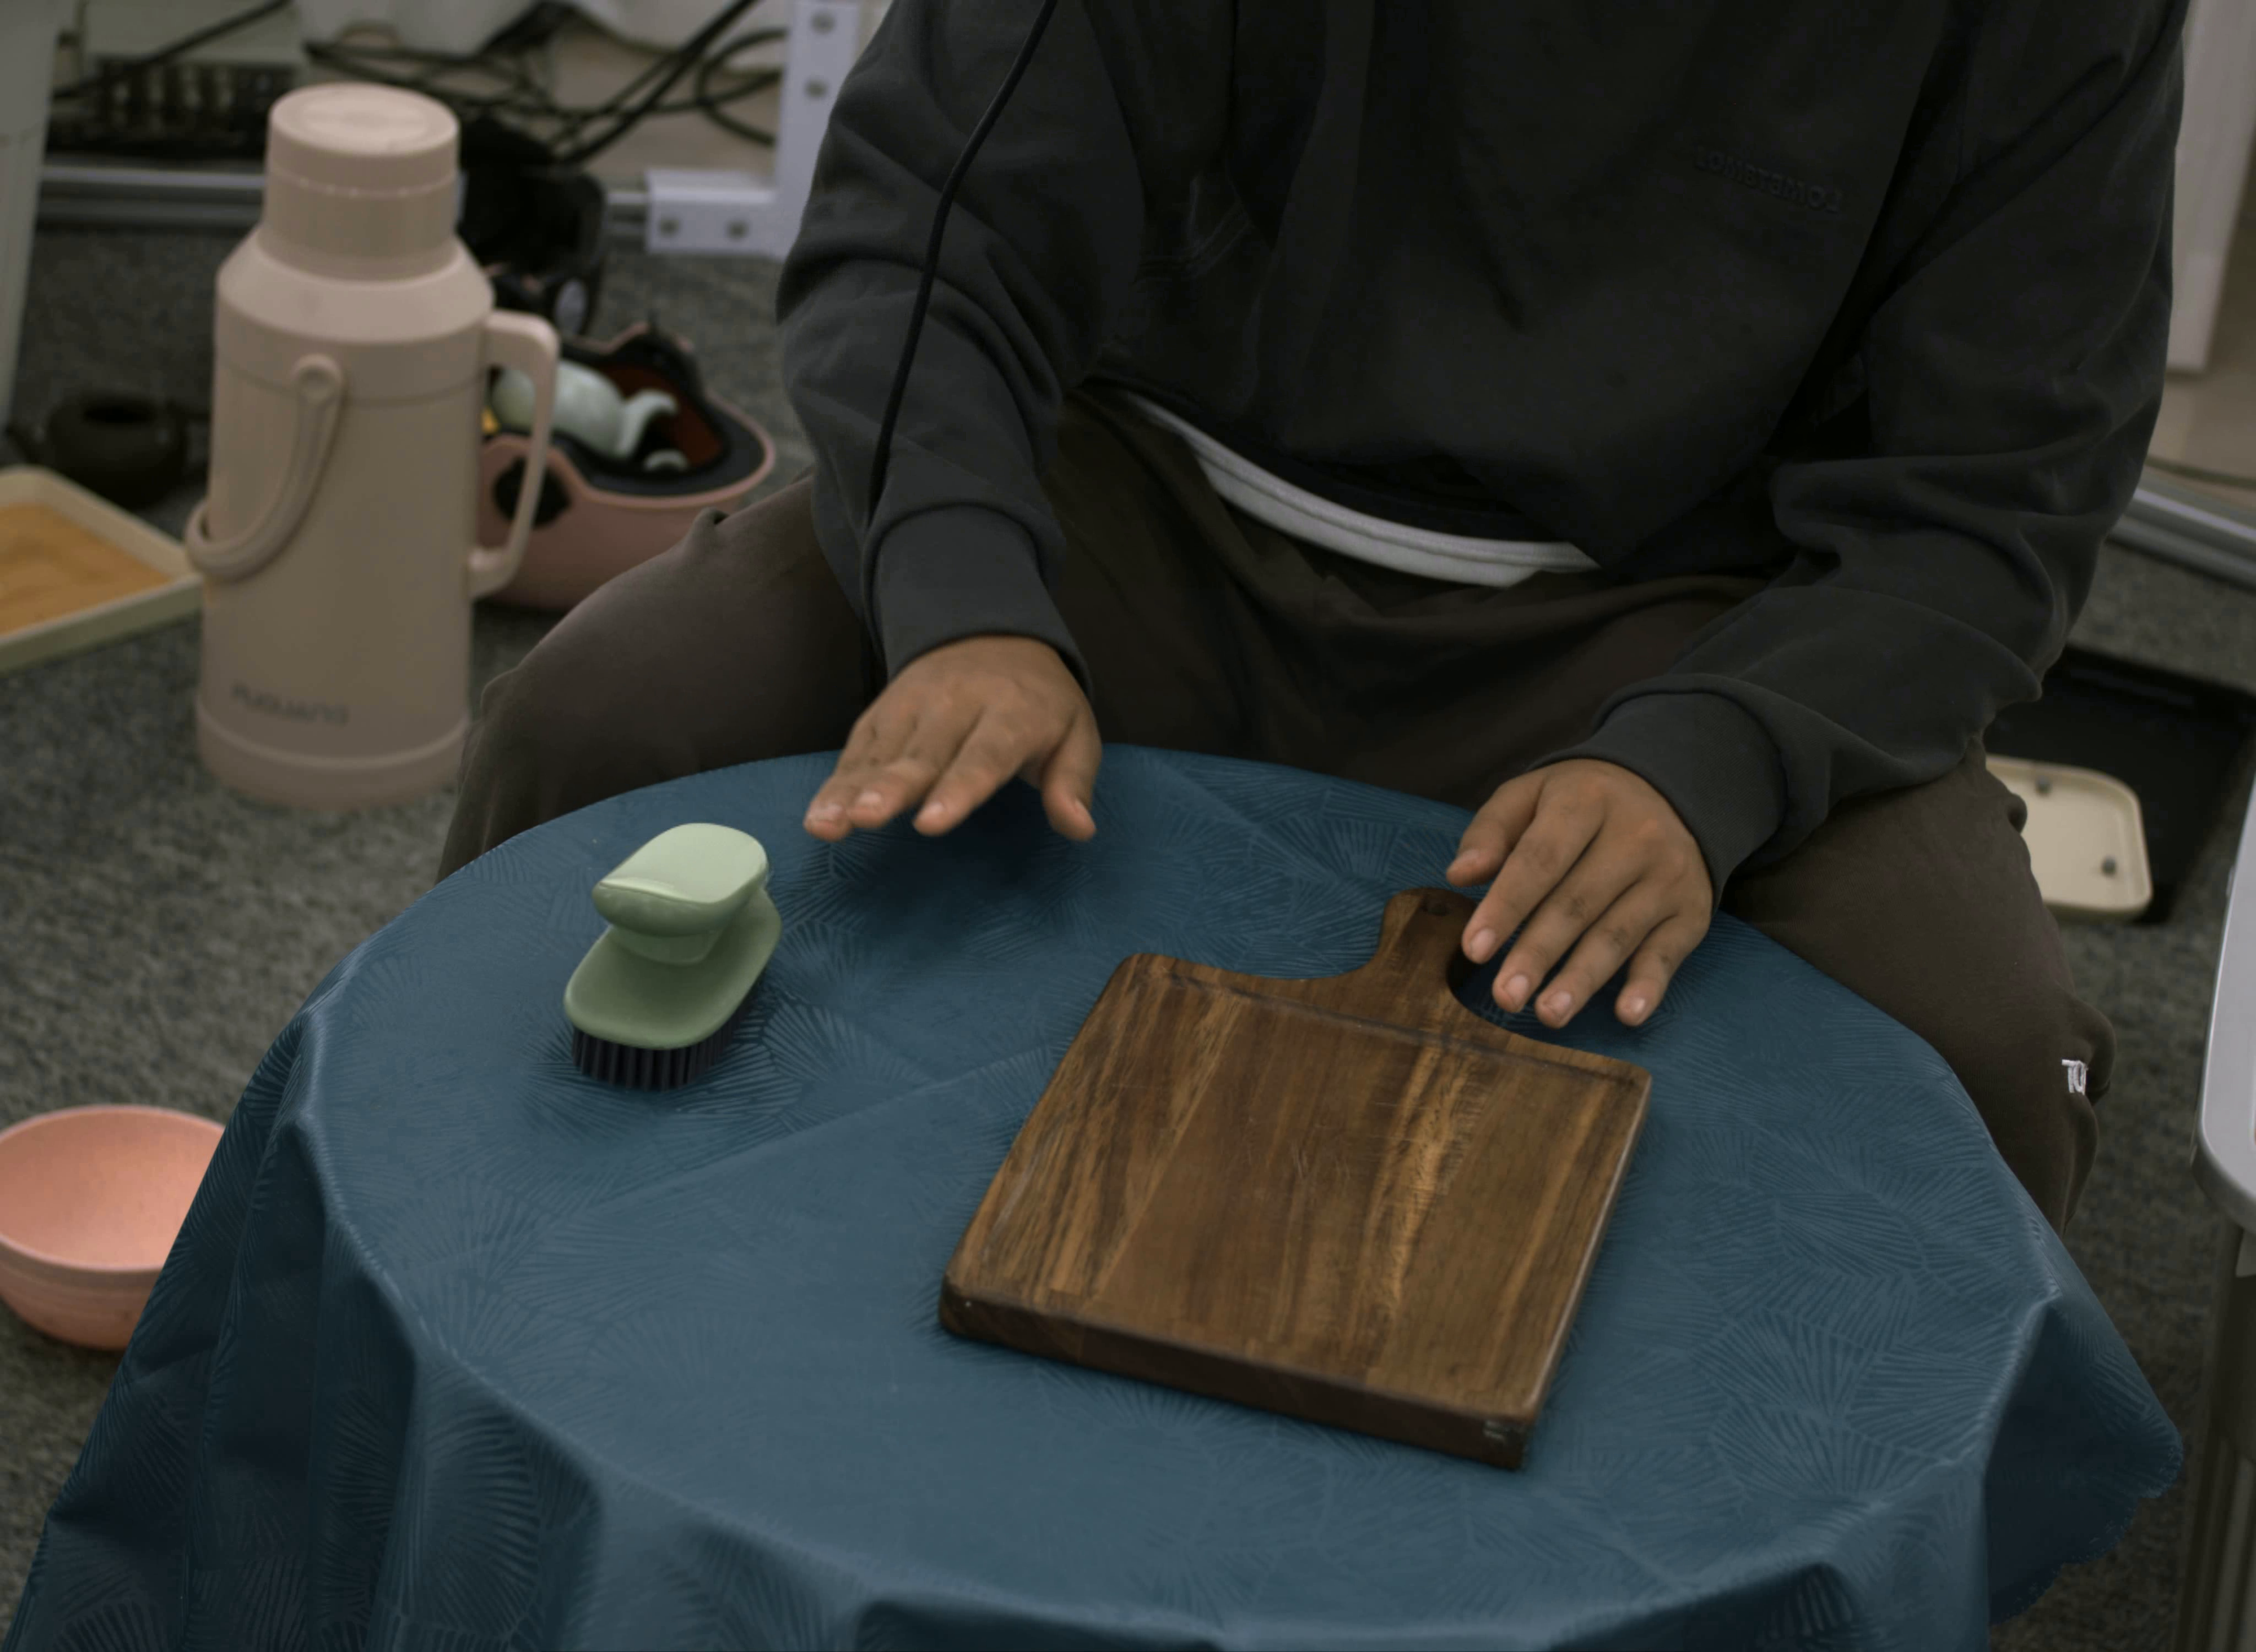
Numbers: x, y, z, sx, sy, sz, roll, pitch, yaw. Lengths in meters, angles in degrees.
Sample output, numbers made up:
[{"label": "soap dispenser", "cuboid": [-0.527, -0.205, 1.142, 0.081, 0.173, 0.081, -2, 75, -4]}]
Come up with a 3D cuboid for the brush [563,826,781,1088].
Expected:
[{"label": "brush", "cuboid": [-0.159, 0.044, 1.868, 0.059, 0.076, 0.123, 12, 13, 9]}]

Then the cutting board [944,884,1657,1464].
[{"label": "cutting board", "cuboid": [0.076, 0.103, 1.842, 0.201, 0.023, 0.353, 13, 27, 11]}]
